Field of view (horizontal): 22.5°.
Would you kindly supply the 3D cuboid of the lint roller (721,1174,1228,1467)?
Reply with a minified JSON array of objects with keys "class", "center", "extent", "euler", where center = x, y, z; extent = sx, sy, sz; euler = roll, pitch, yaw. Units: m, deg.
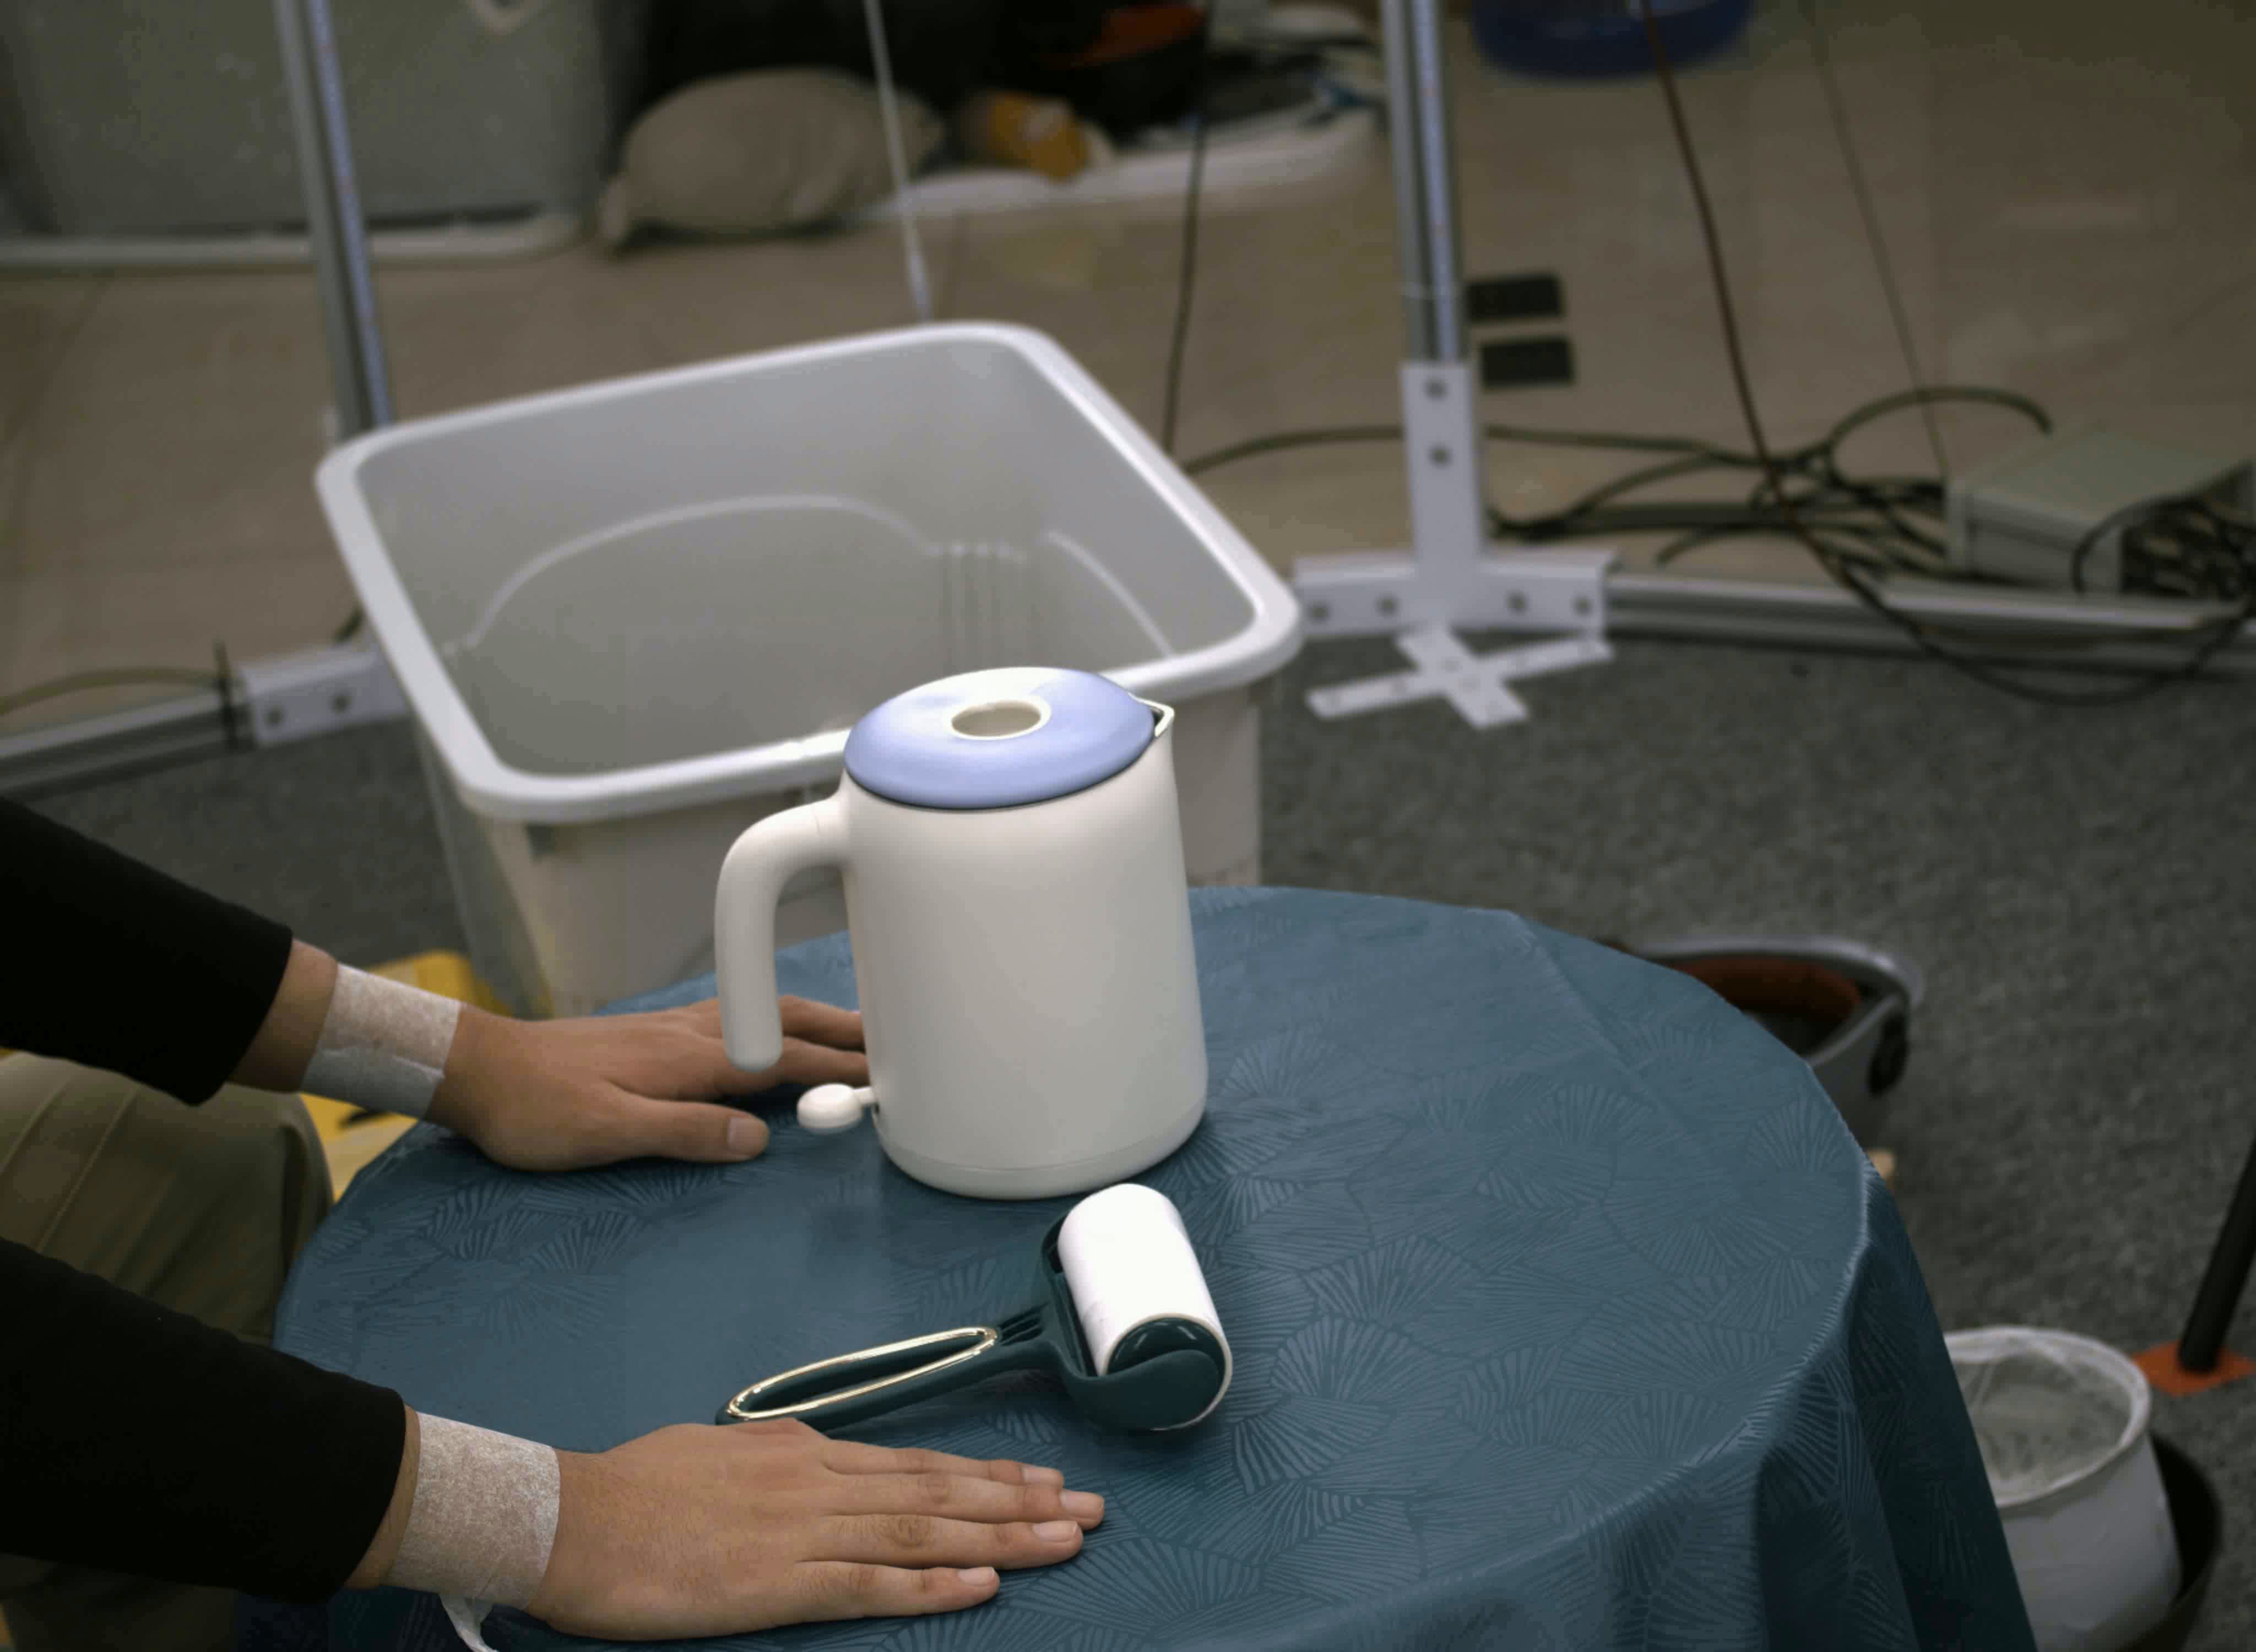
[{"class":"lint roller","center":[-0.061,0.185,2.016],"extent":[0.180,0.049,0.132],"euler":[-12,25,-4]}]

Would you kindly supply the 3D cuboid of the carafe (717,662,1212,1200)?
[{"class":"carafe","center":[-0.064,0.045,2.159],"extent":[0.190,0.185,0.130],"euler":[-14,26,-10]}]
